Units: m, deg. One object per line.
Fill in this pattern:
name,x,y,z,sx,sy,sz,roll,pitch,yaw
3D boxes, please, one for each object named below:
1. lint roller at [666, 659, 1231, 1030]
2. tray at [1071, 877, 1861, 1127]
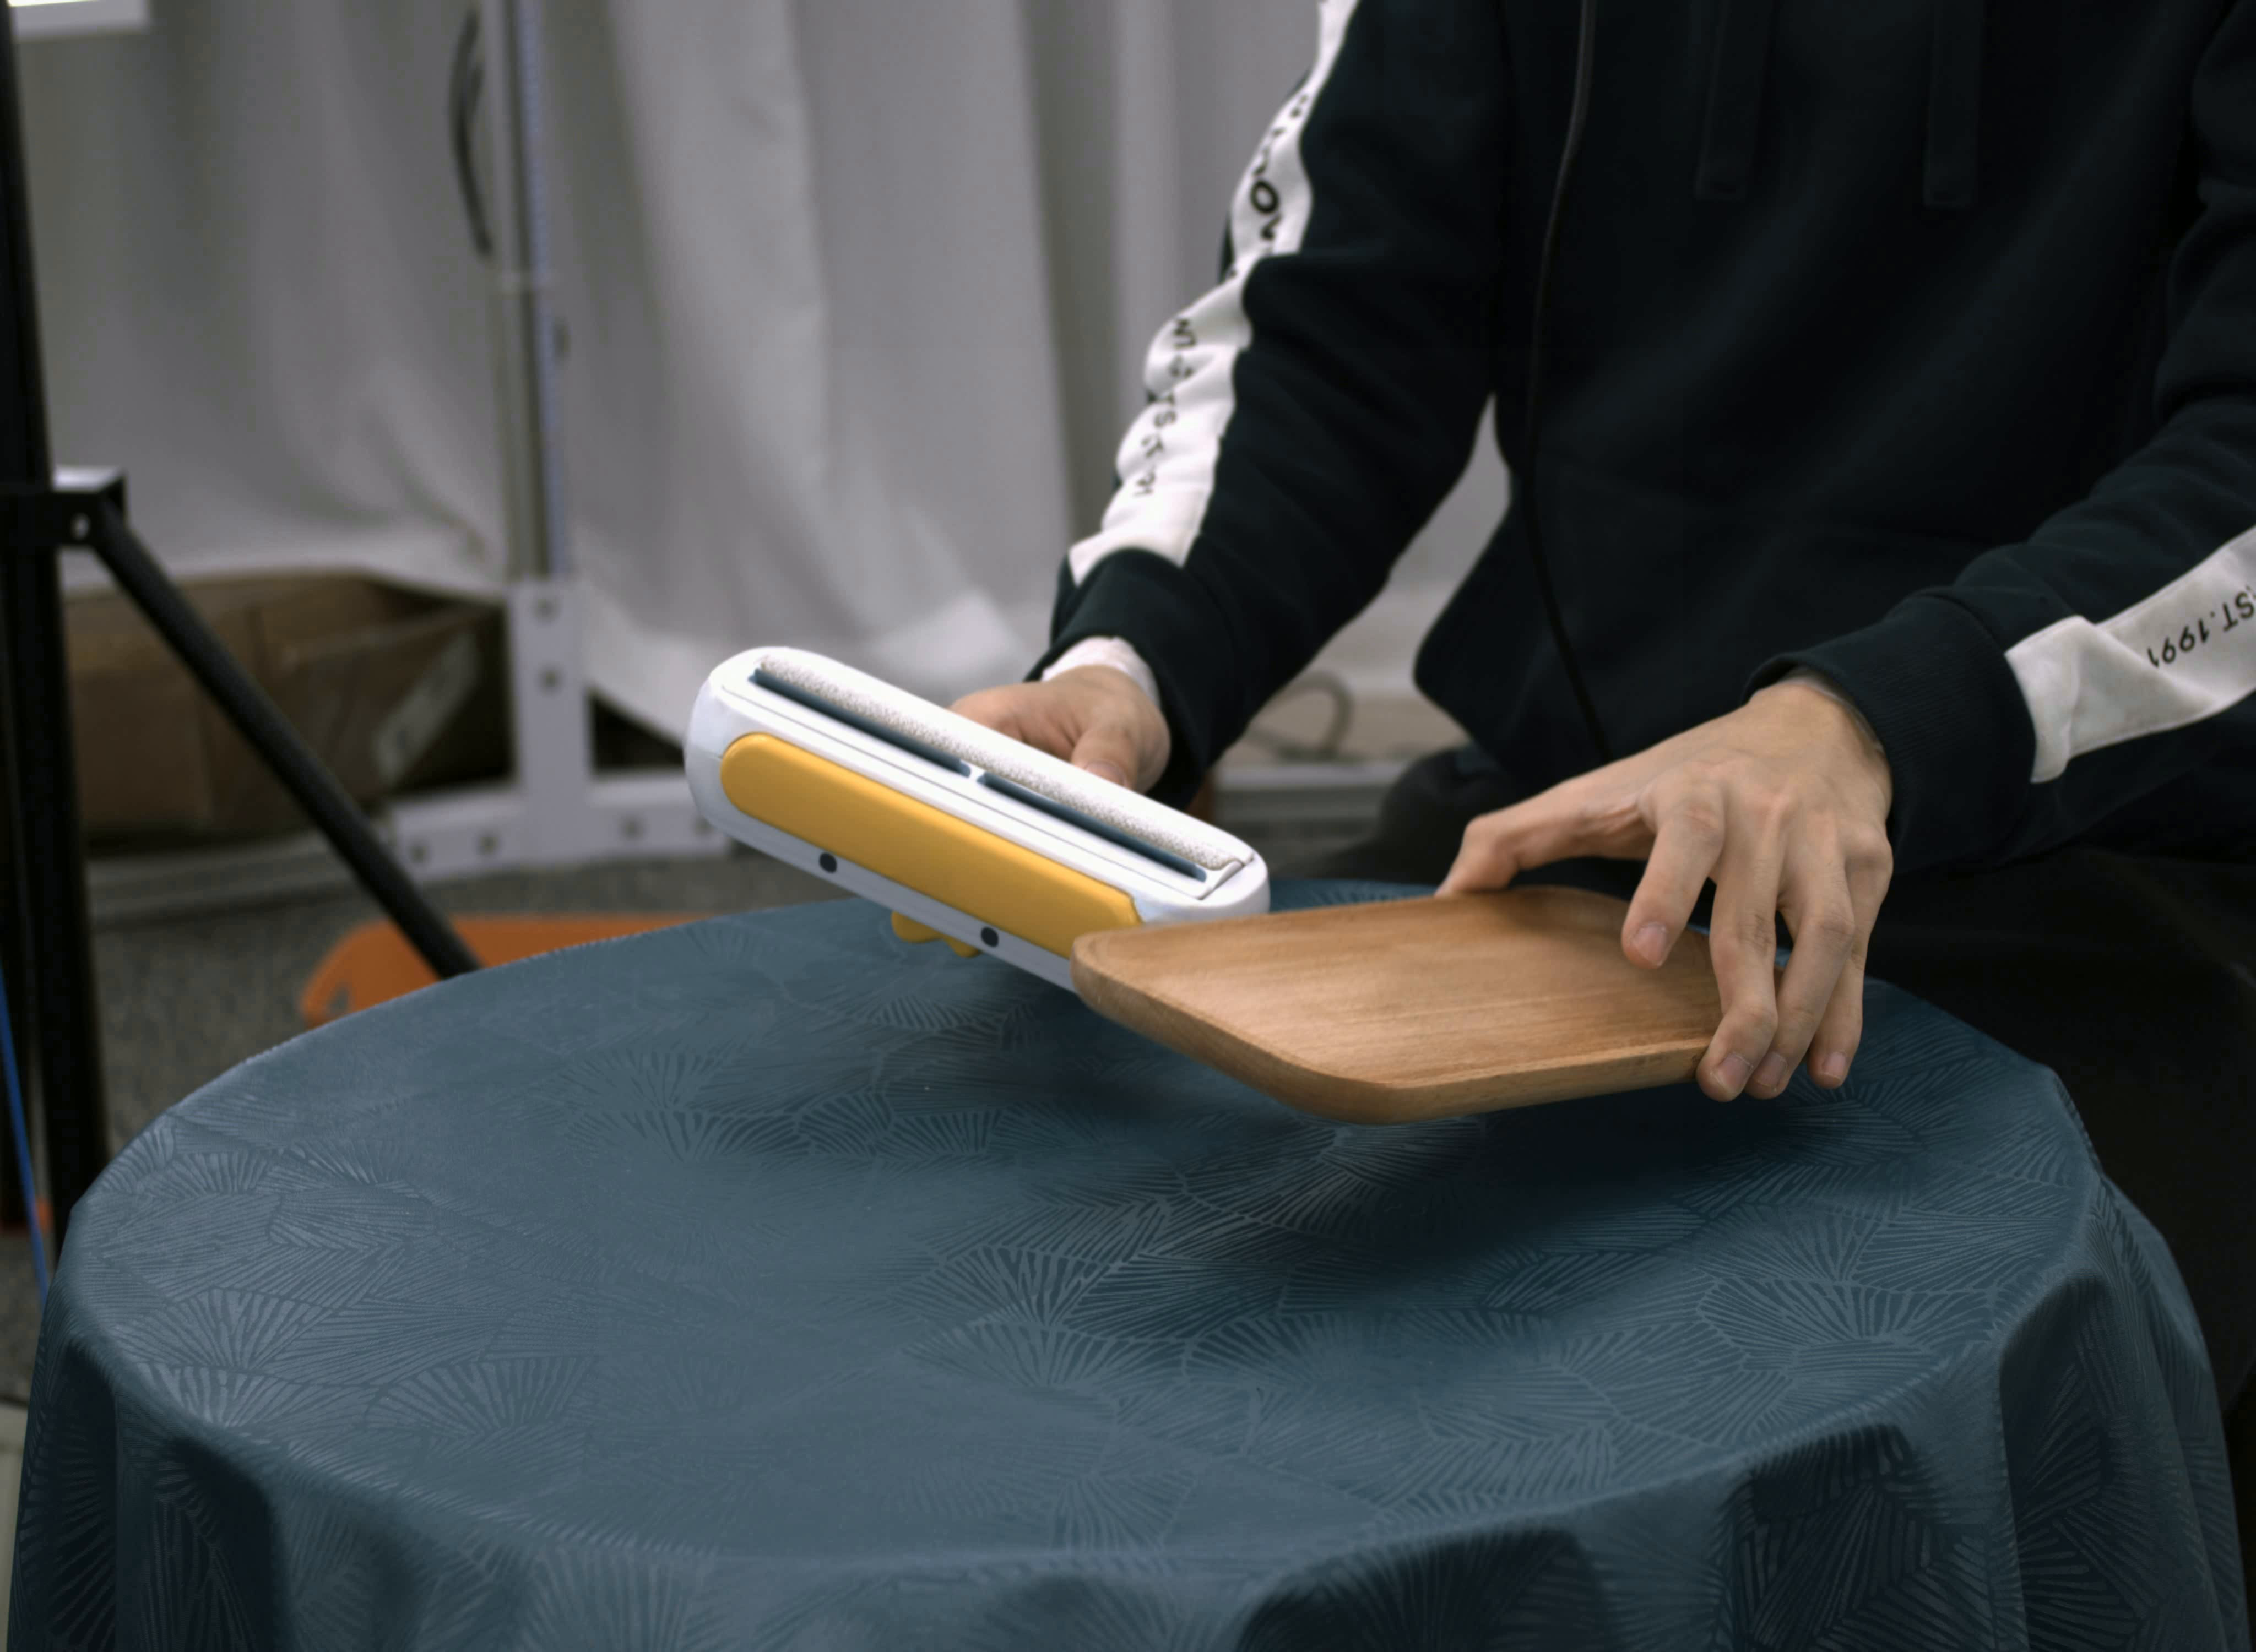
lint roller,-0.036,0.014,1.700,0.196,0.074,0.188,23,5,24
tray,0.101,0.050,1.546,0.244,0.023,0.133,-3,24,-45
